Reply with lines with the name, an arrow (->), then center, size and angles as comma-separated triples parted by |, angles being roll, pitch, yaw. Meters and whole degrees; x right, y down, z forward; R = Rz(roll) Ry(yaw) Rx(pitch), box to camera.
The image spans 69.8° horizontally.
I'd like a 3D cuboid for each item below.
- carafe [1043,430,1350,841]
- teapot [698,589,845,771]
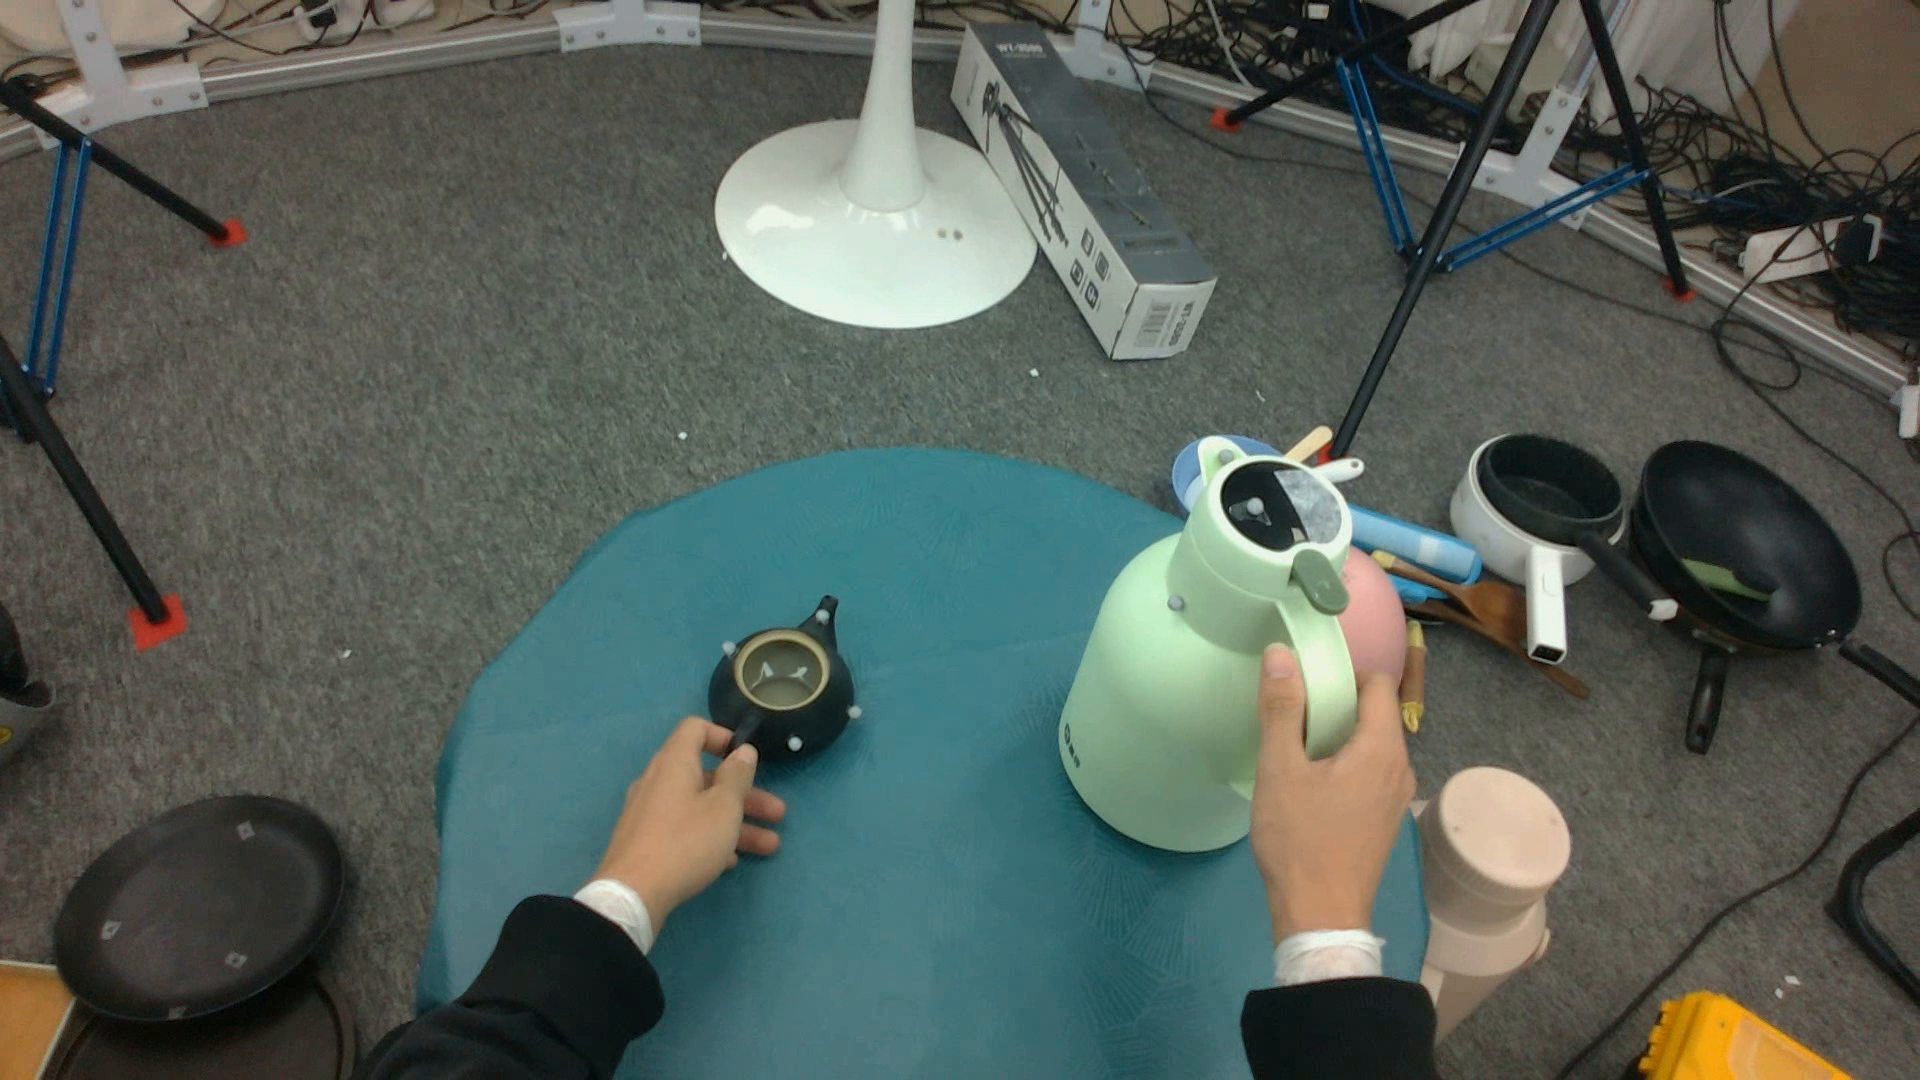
carafe -> 0.147, 0.069, 0.793 | 0.144, 0.255, 0.187 | -8, 56, -19
teapot -> -0.117, 0.091, 0.855 | 0.091, 0.053, 0.134 | 22, 50, 10
